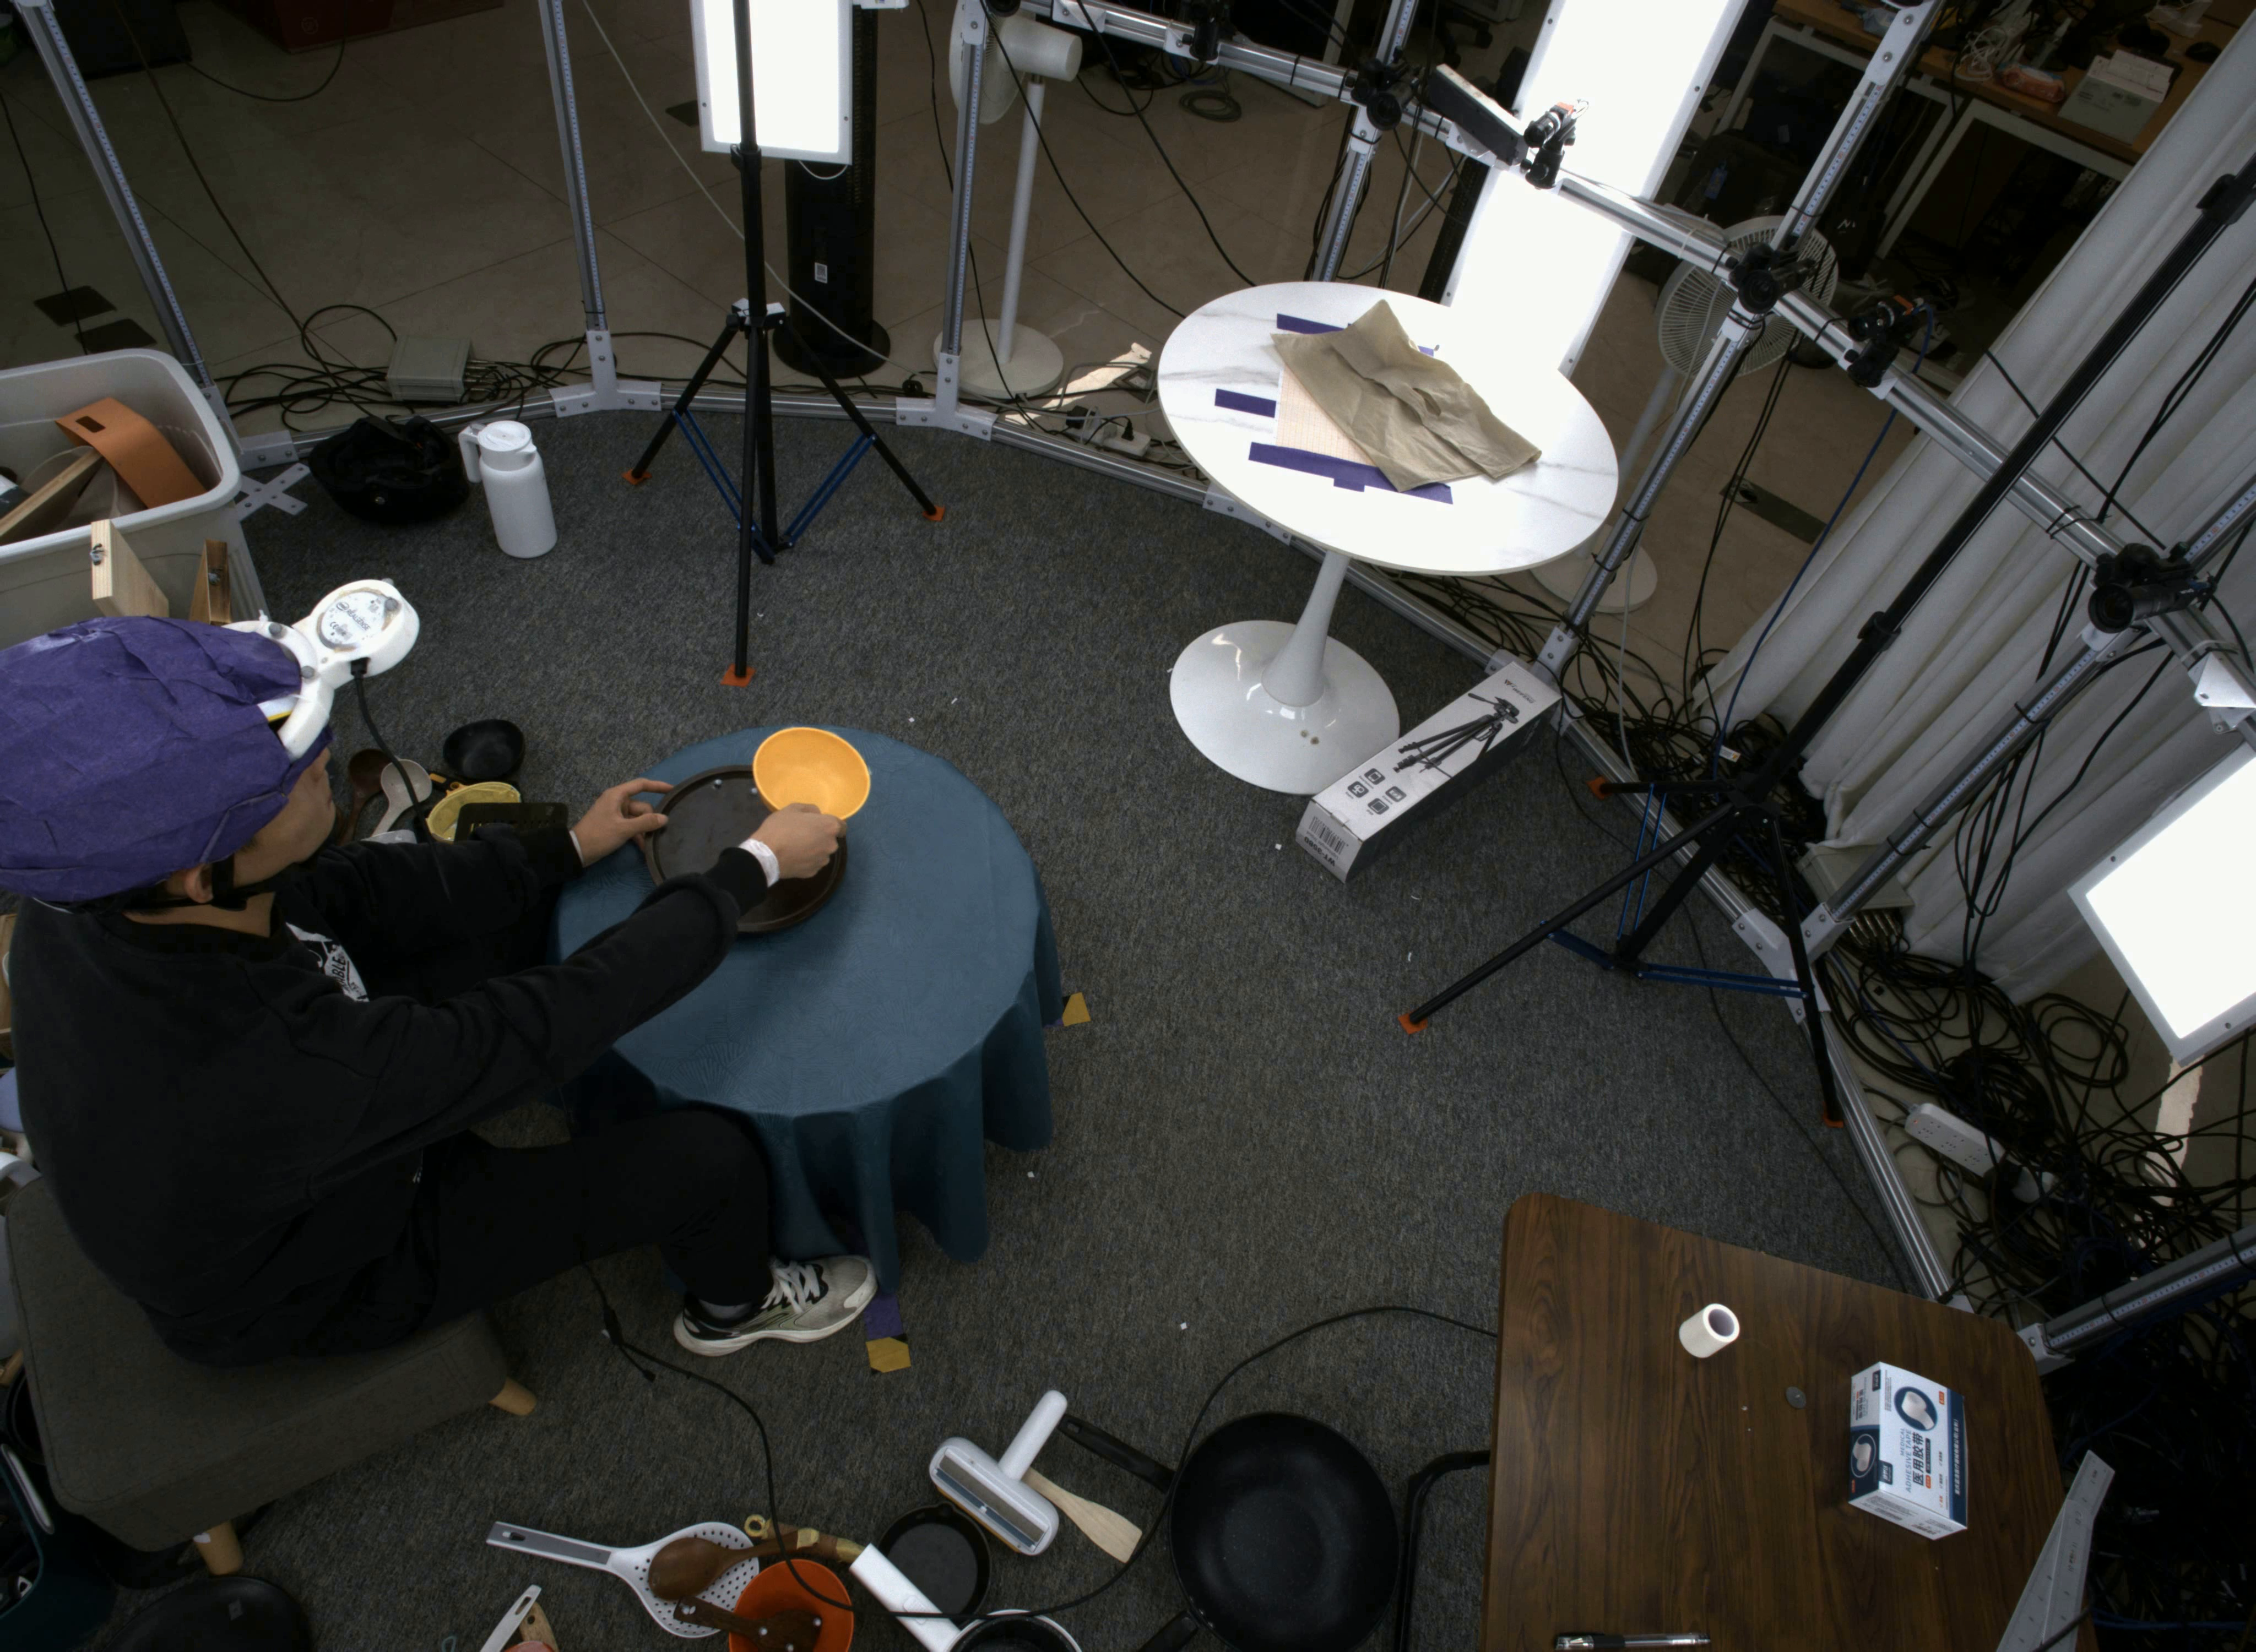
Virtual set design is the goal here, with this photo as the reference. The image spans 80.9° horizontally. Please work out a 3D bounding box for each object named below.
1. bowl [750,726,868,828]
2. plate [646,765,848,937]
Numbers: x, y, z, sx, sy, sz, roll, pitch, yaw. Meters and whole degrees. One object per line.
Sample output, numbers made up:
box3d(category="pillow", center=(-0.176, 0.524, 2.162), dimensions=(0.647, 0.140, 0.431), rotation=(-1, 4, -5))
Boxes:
box3d(category="bowl", center=(-0.403, -0.050, 1.625), dimensions=(0.146, 0.060, 0.143), rotation=(14, 54, -17))
box3d(category="plate", center=(-0.487, 0.029, 1.657), dimensions=(0.256, 0.029, 0.251), rotation=(12, 56, -16))
